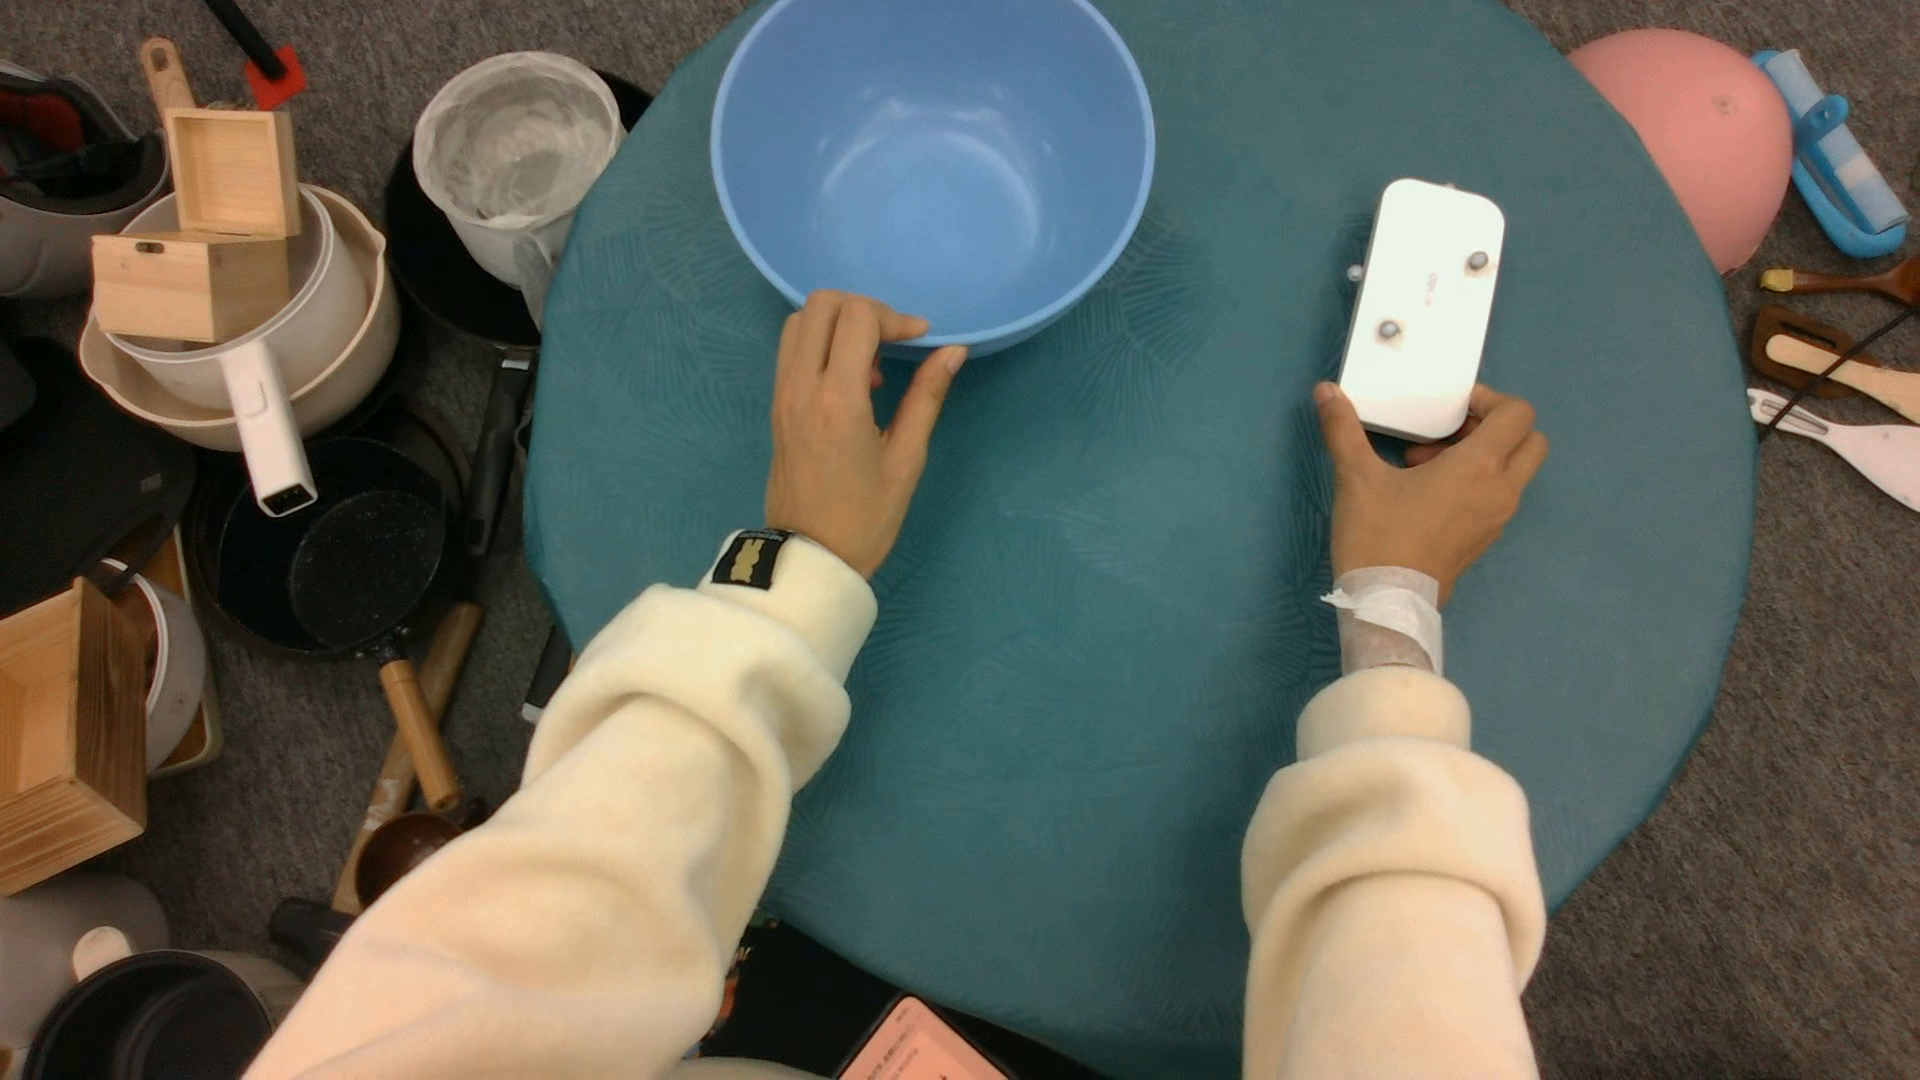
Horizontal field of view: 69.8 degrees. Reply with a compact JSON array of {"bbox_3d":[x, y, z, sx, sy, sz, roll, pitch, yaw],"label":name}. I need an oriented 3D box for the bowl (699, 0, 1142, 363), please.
[{"bbox_3d":[-0.020,-0.163,0.652,0.196,0.095,0.197,2,71,-5],"label":"bowl"}]

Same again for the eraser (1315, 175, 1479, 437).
[{"bbox_3d":[0.214,-0.117,0.678,0.063,0.034,0.131,15,75,2],"label":"eraser"}]
